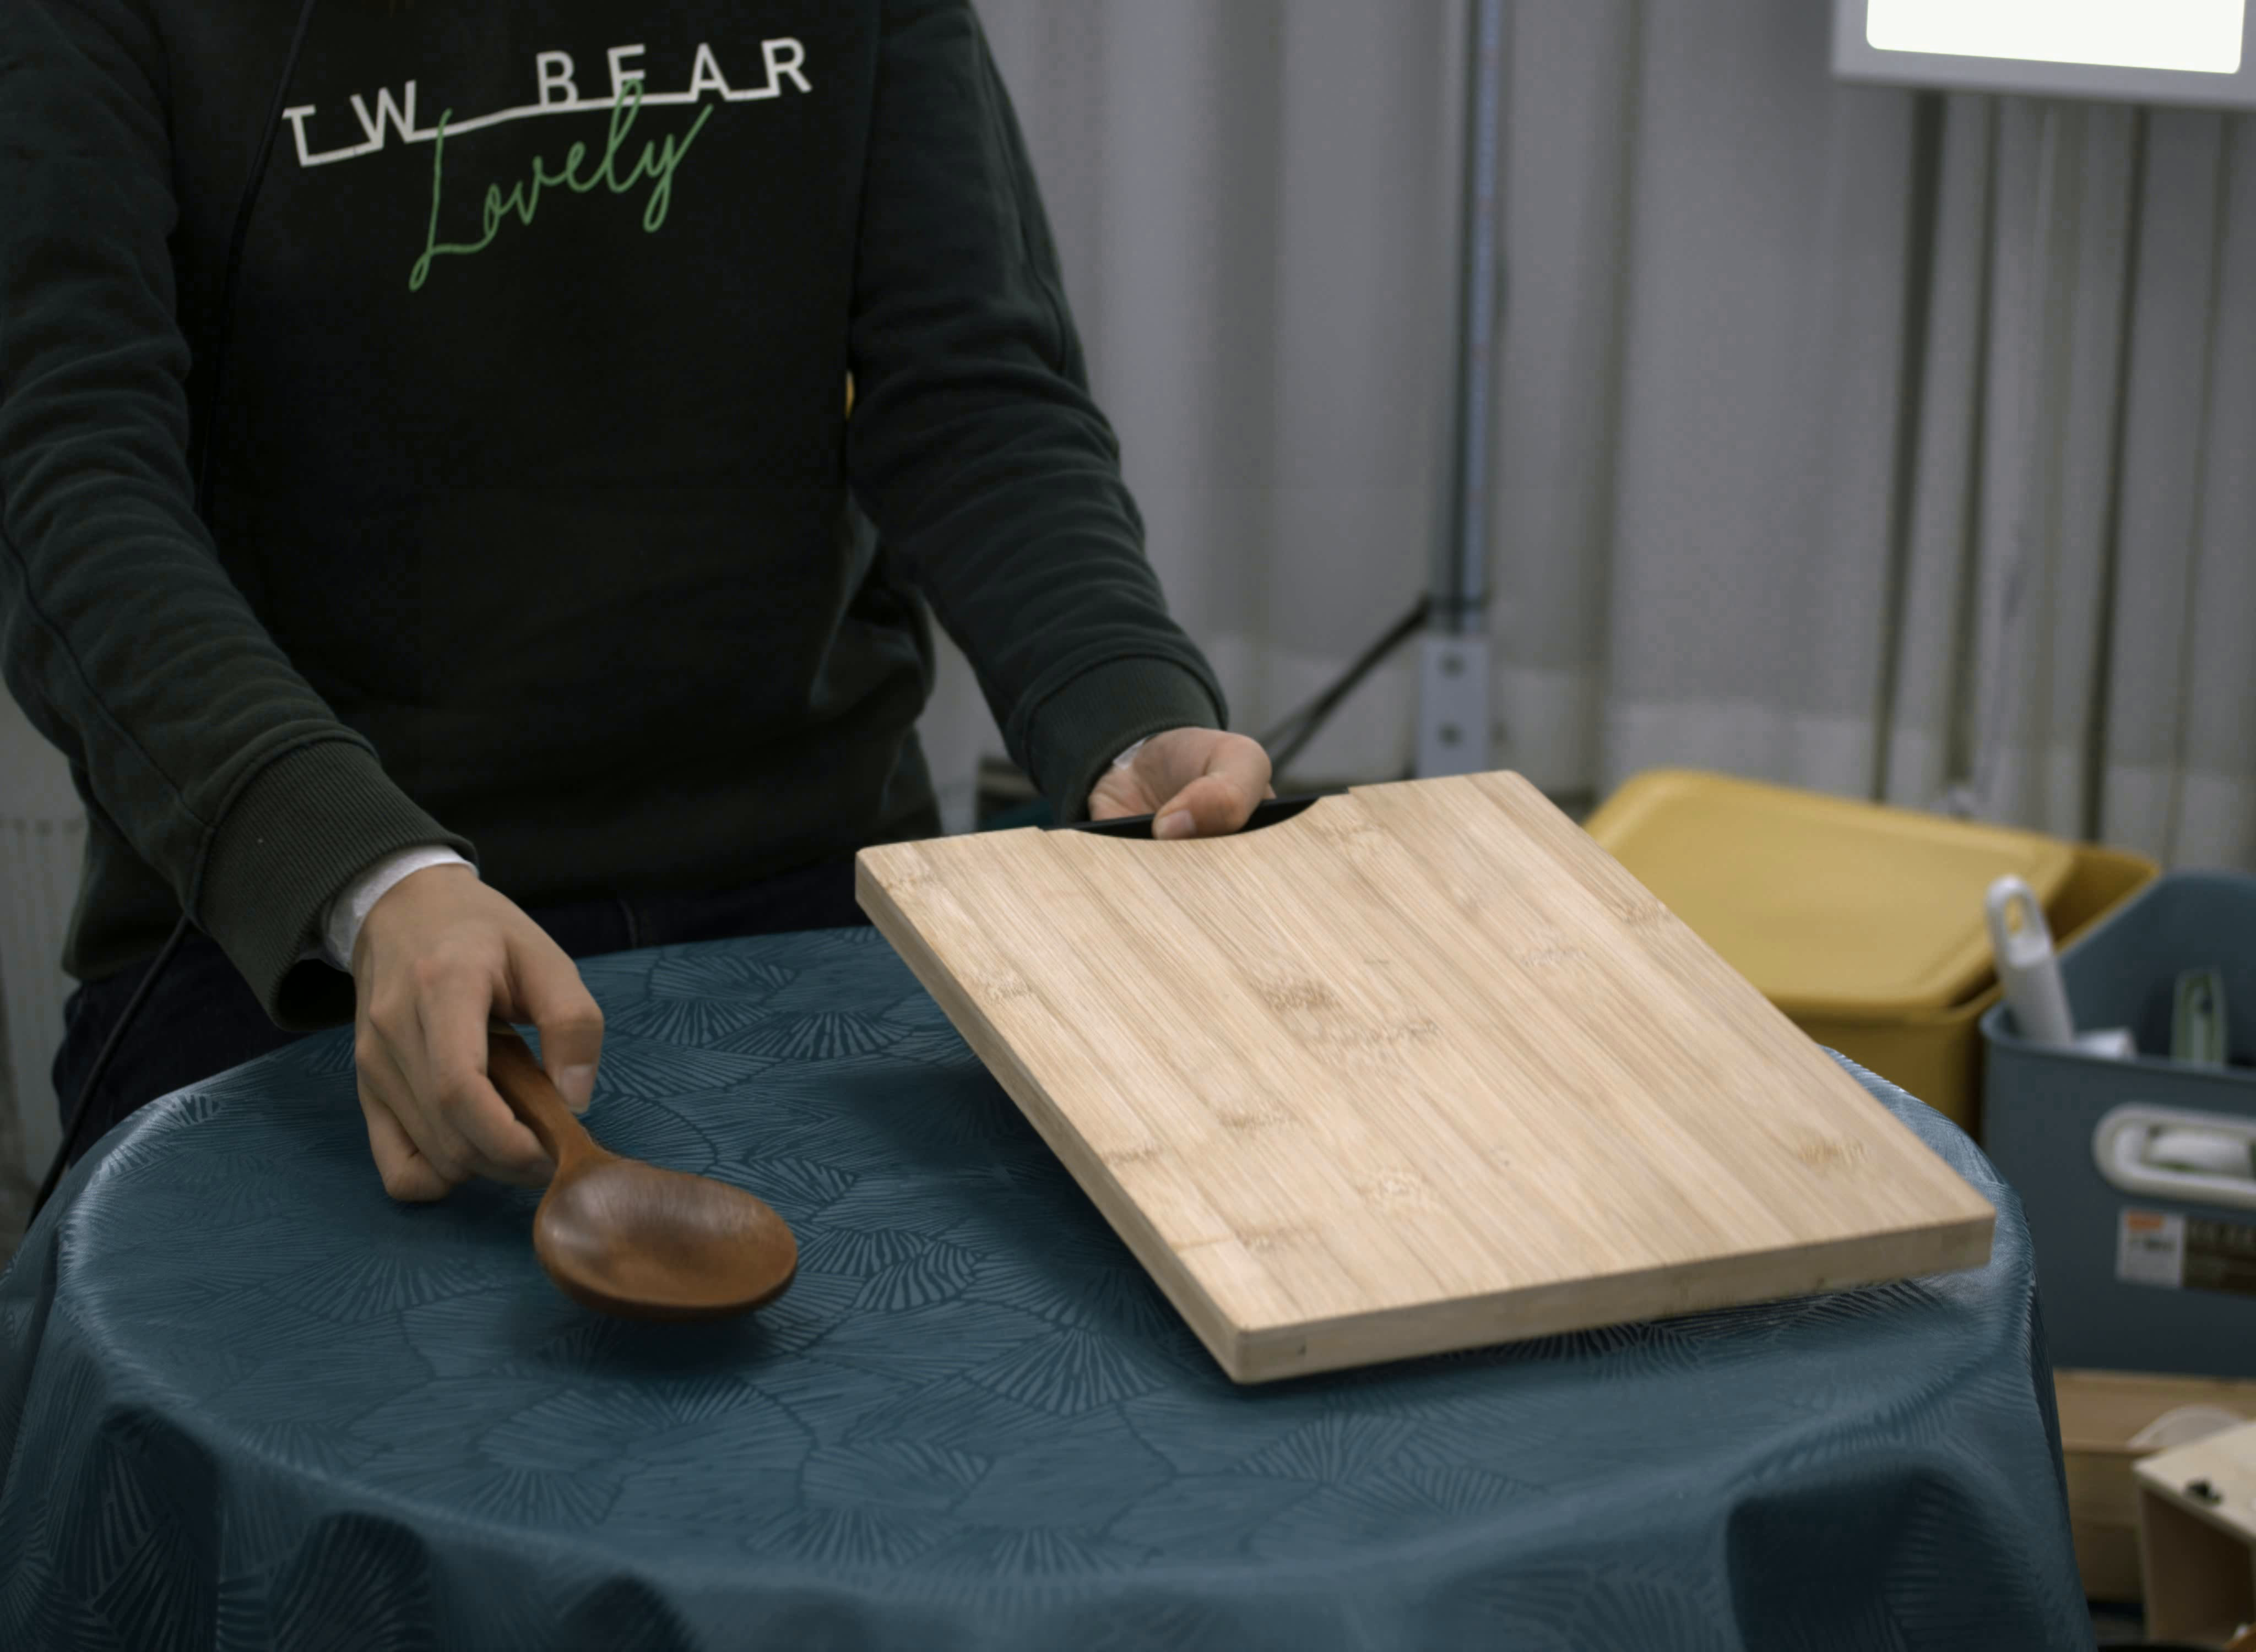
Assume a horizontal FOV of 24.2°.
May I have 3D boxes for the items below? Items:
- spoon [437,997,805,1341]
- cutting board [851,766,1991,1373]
[{"bbox_3d":[-0.159,0.101,1.554,0.076,0.017,0.213,-9,28,-25],"label":"spoon"},{"bbox_3d":[0.080,0.067,1.639,0.251,0.024,0.344,-6,26,-22],"label":"cutting board"}]
